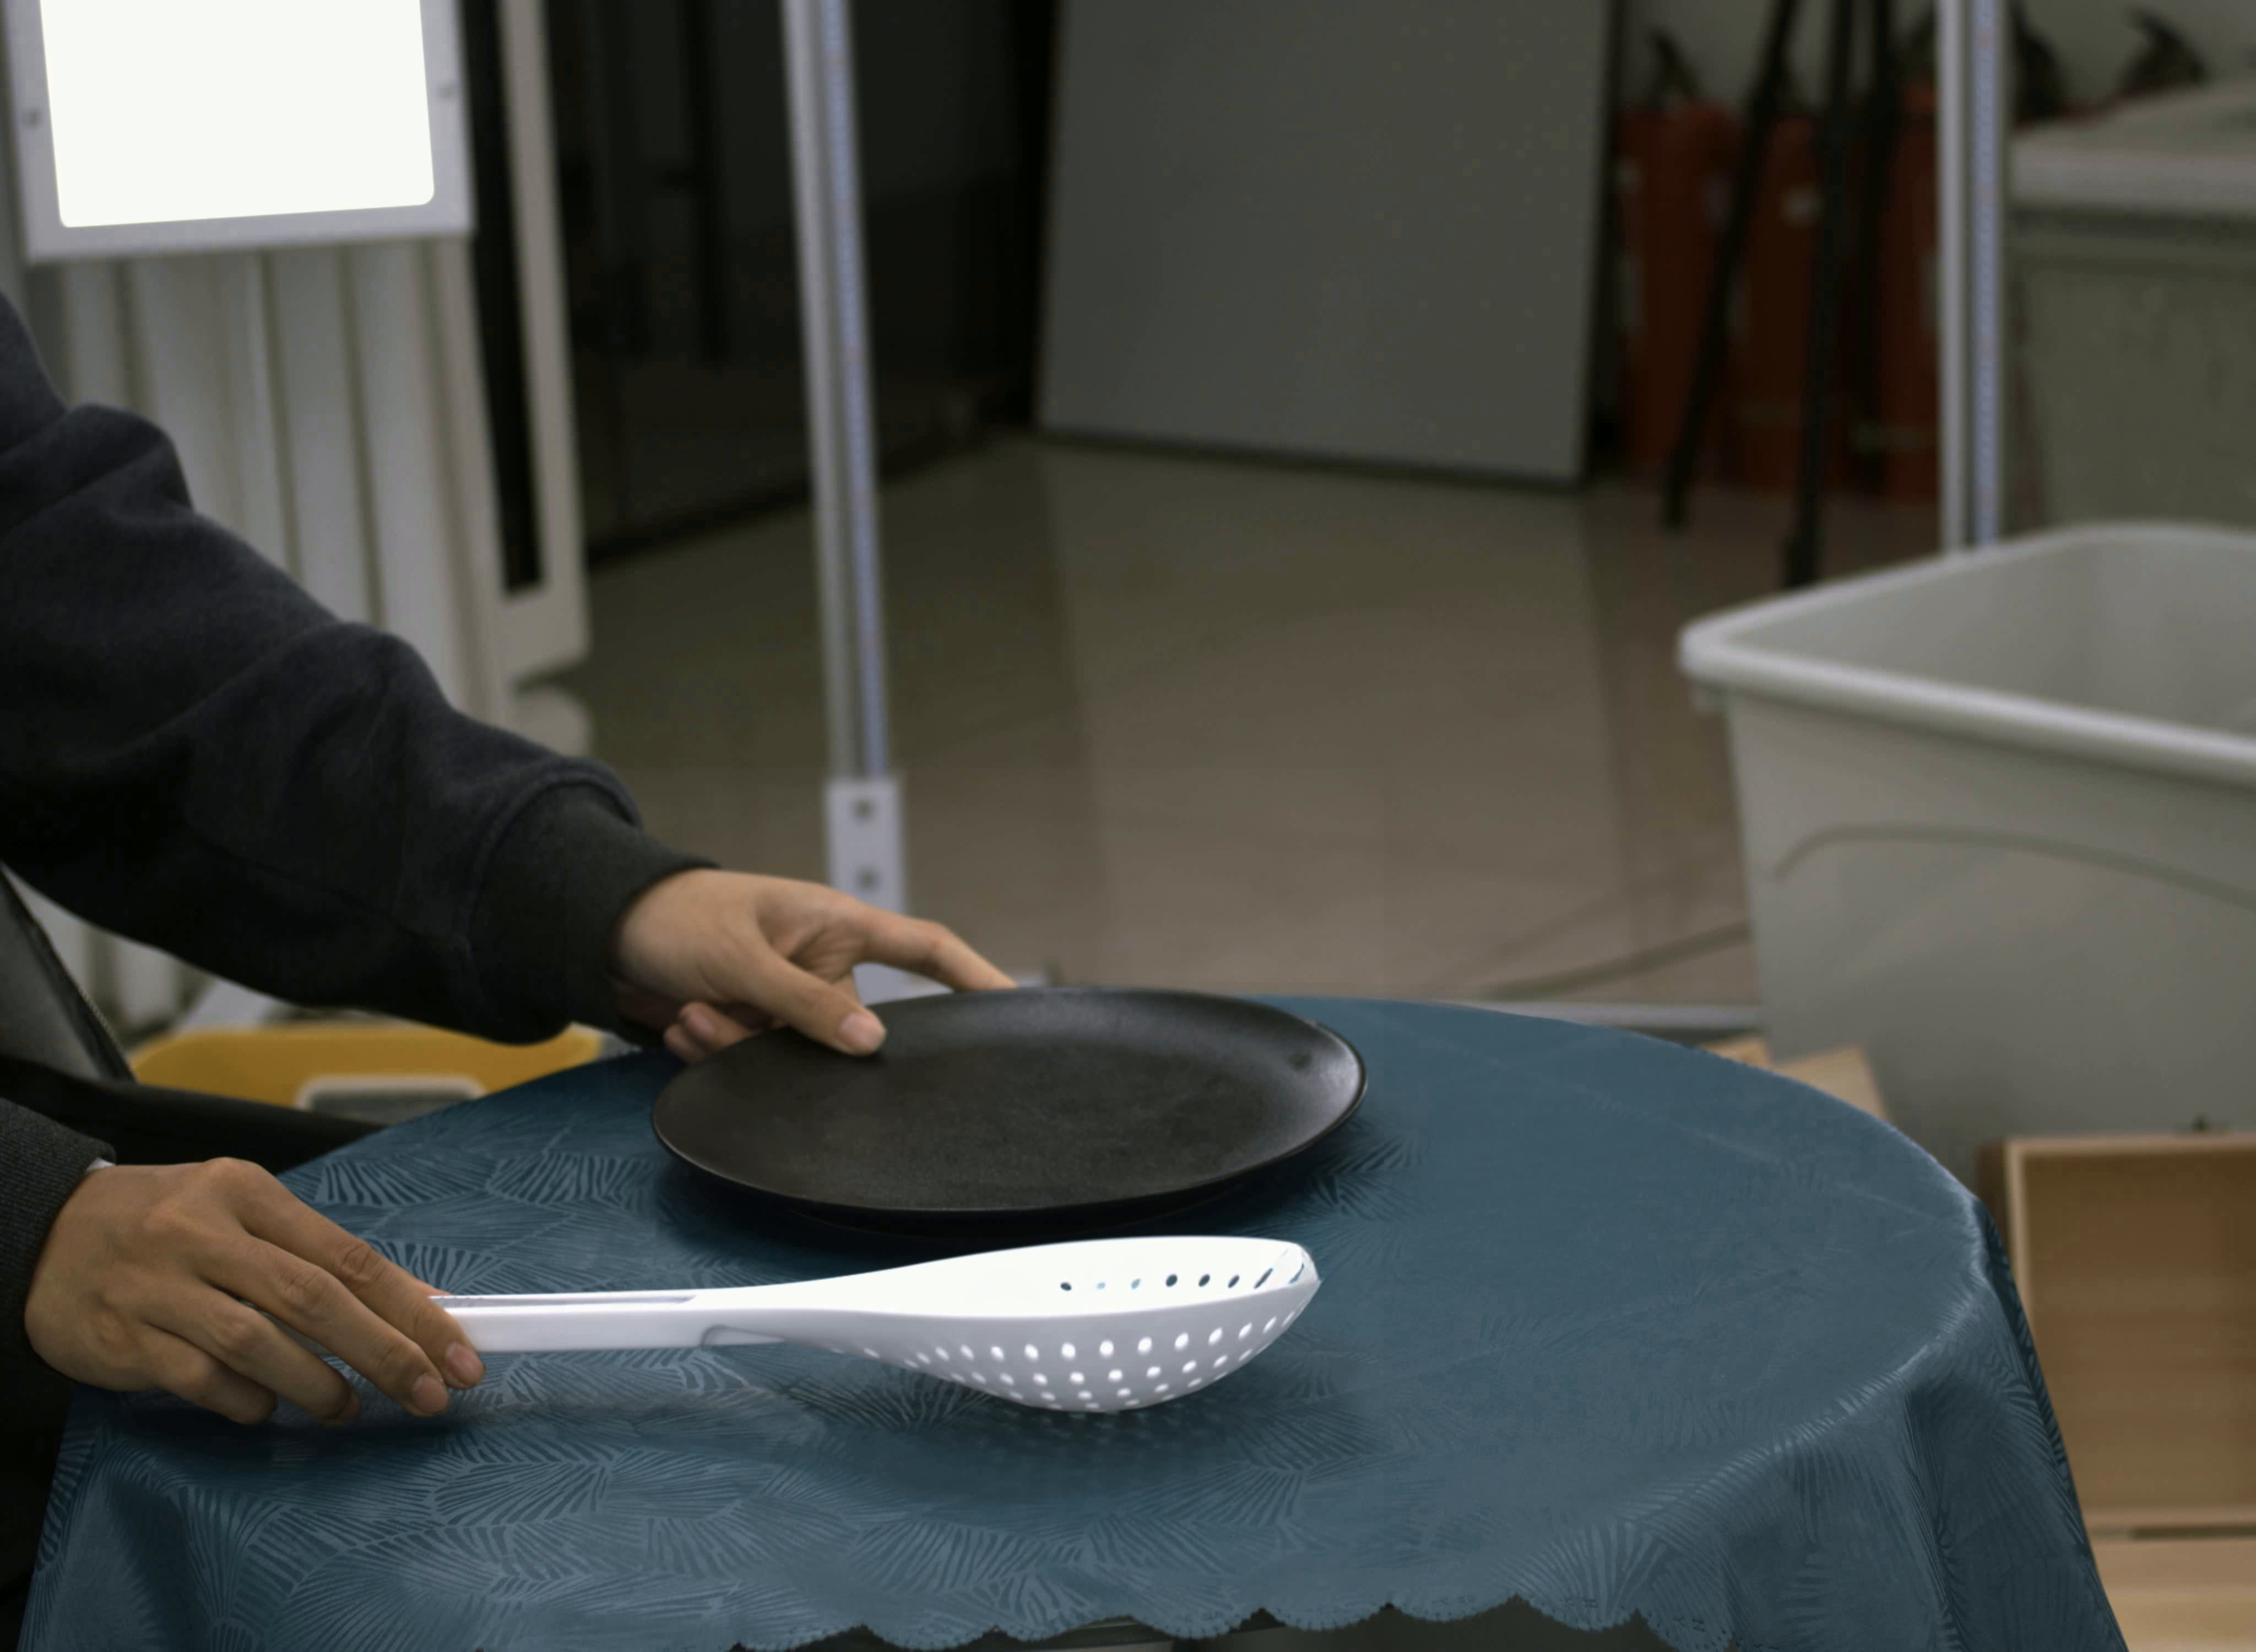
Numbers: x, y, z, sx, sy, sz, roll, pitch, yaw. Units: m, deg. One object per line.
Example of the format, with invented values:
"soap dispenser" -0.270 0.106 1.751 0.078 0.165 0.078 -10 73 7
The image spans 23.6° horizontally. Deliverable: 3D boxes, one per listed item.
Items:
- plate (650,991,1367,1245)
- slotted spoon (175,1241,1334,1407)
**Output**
"plate" -0.039 0.100 1.810 0.241 0.024 0.245 -3 15 0
"slotted spoon" -0.112 0.142 1.586 0.347 0.046 0.135 1 1 11
